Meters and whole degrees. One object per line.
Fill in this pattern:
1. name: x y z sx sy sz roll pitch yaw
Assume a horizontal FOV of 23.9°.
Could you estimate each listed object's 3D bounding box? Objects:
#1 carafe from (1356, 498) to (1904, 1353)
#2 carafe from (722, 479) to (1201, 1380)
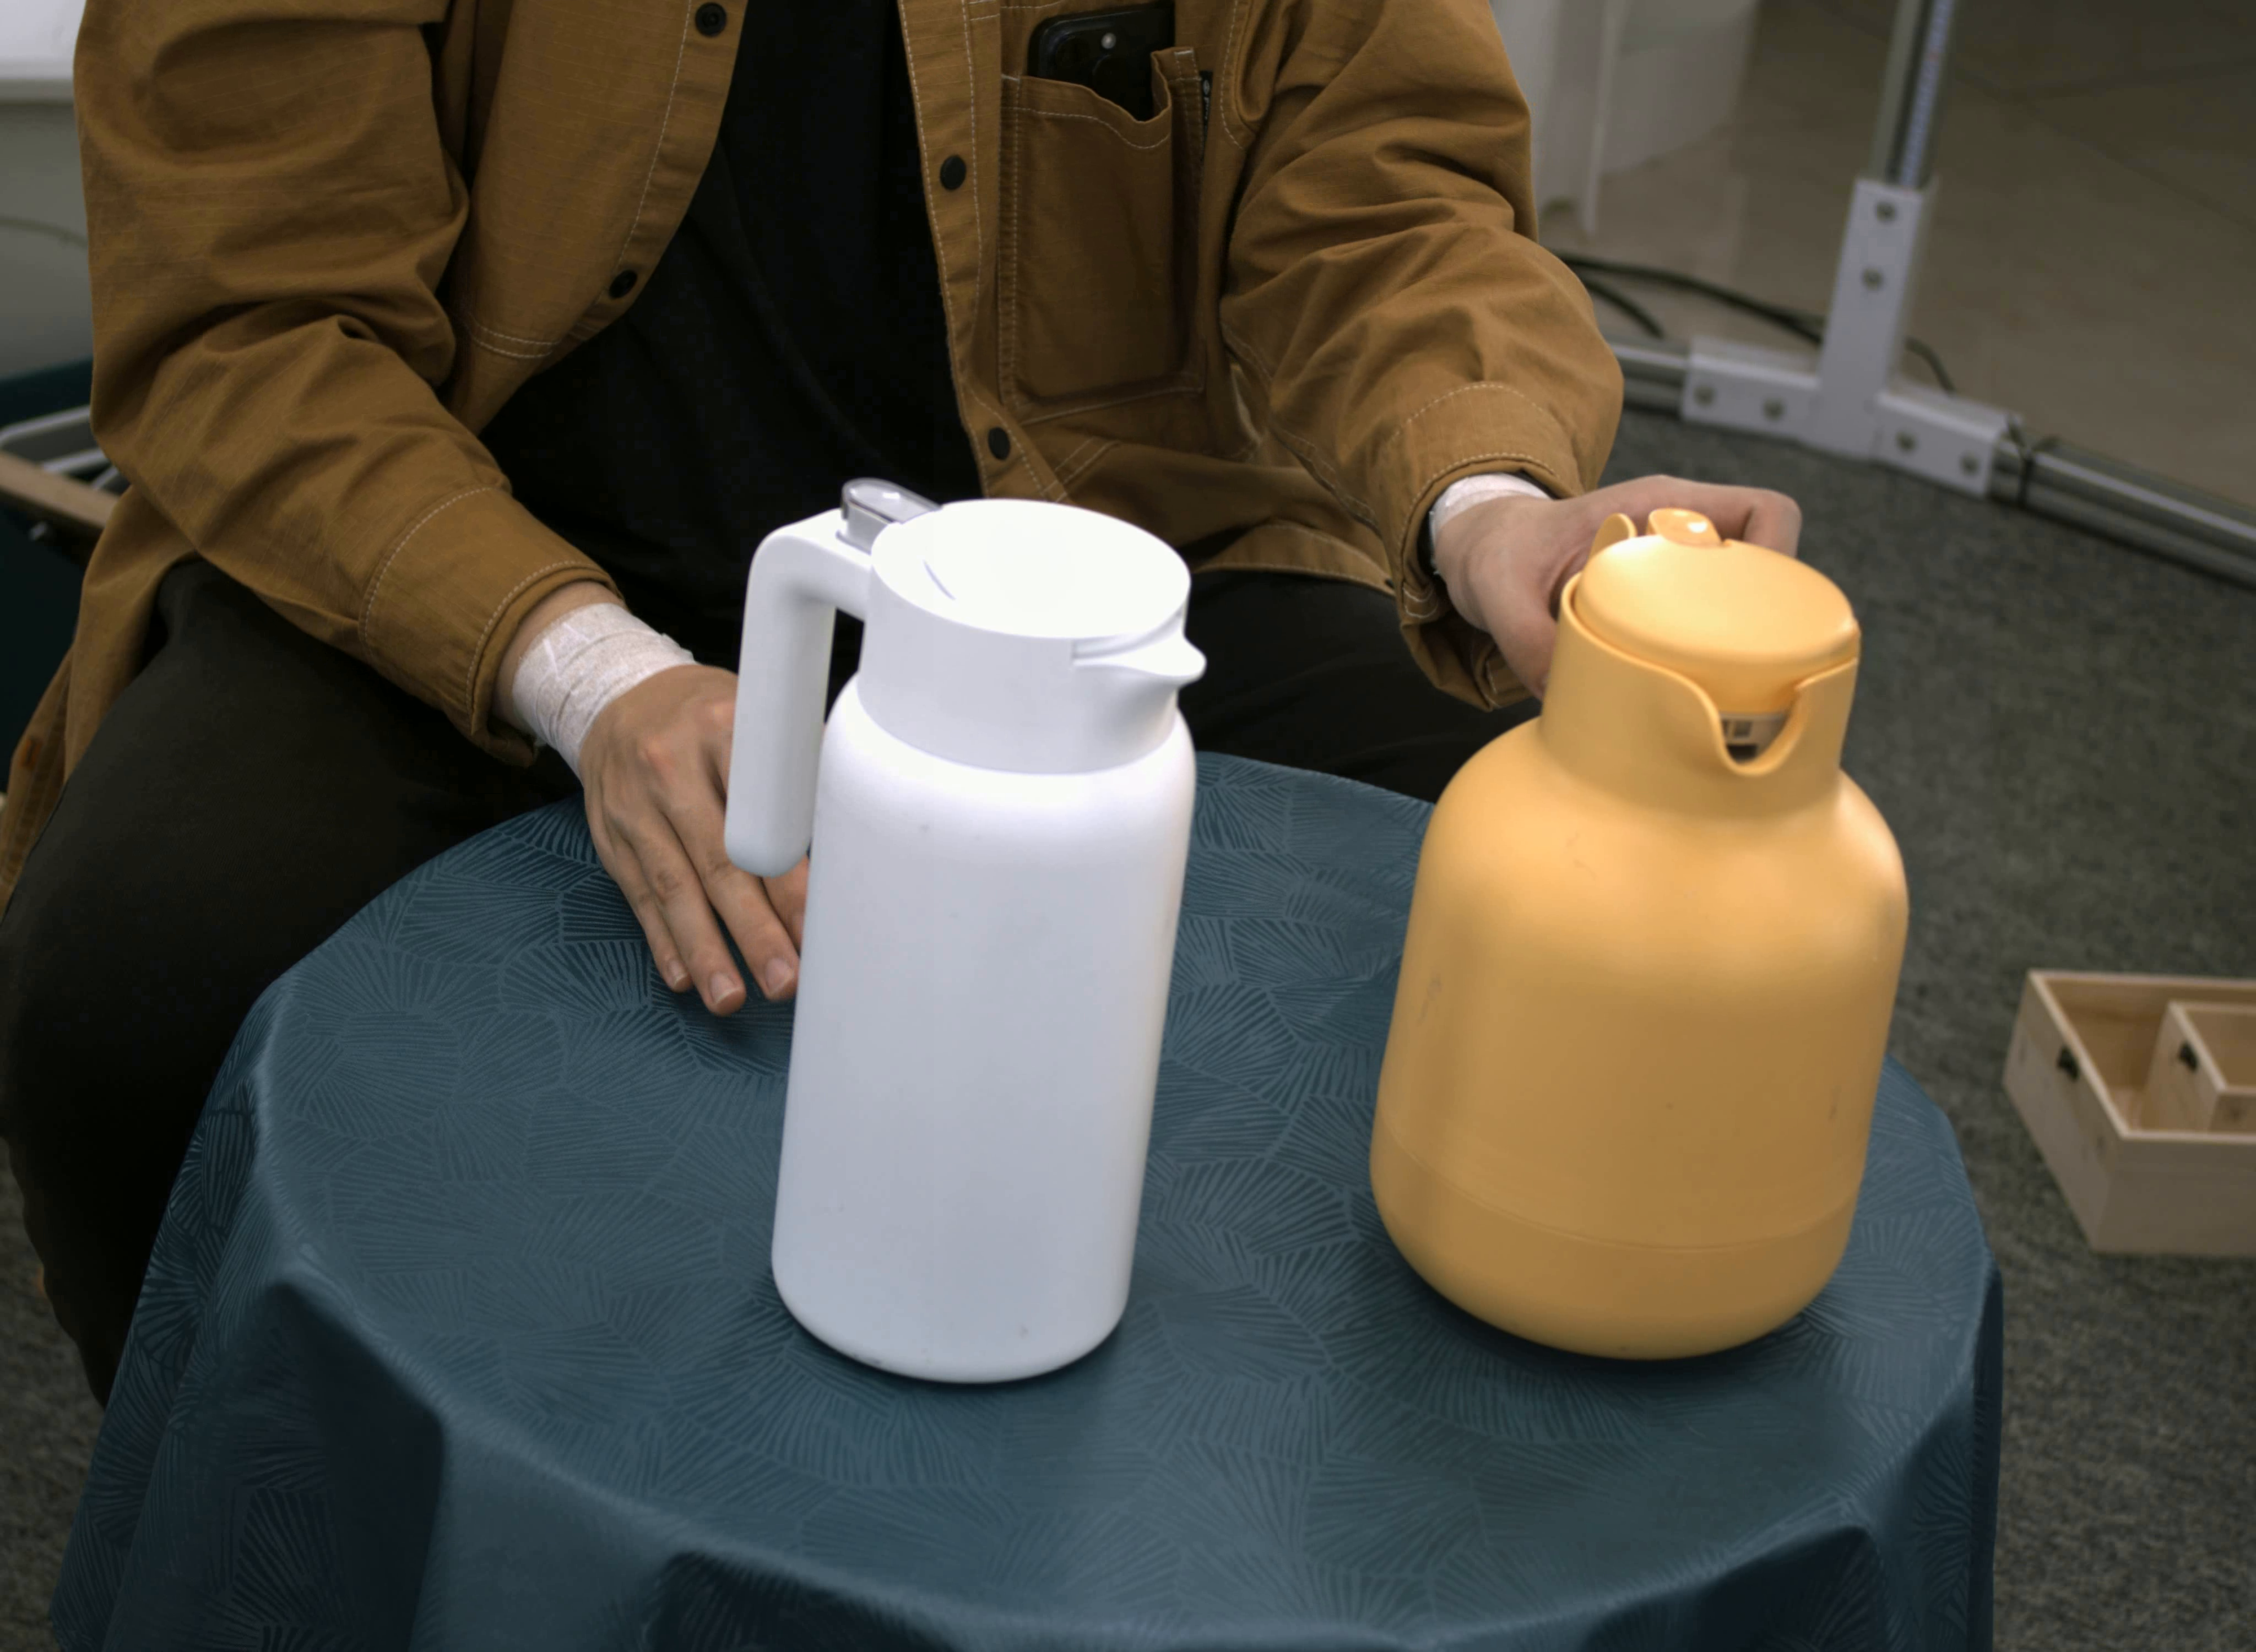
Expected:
1. carafe: 0.170 0.023 1.751 0.163 0.259 0.204 7 28 -7
2. carafe: -0.060 0.029 1.683 0.174 0.268 0.123 26 34 33
